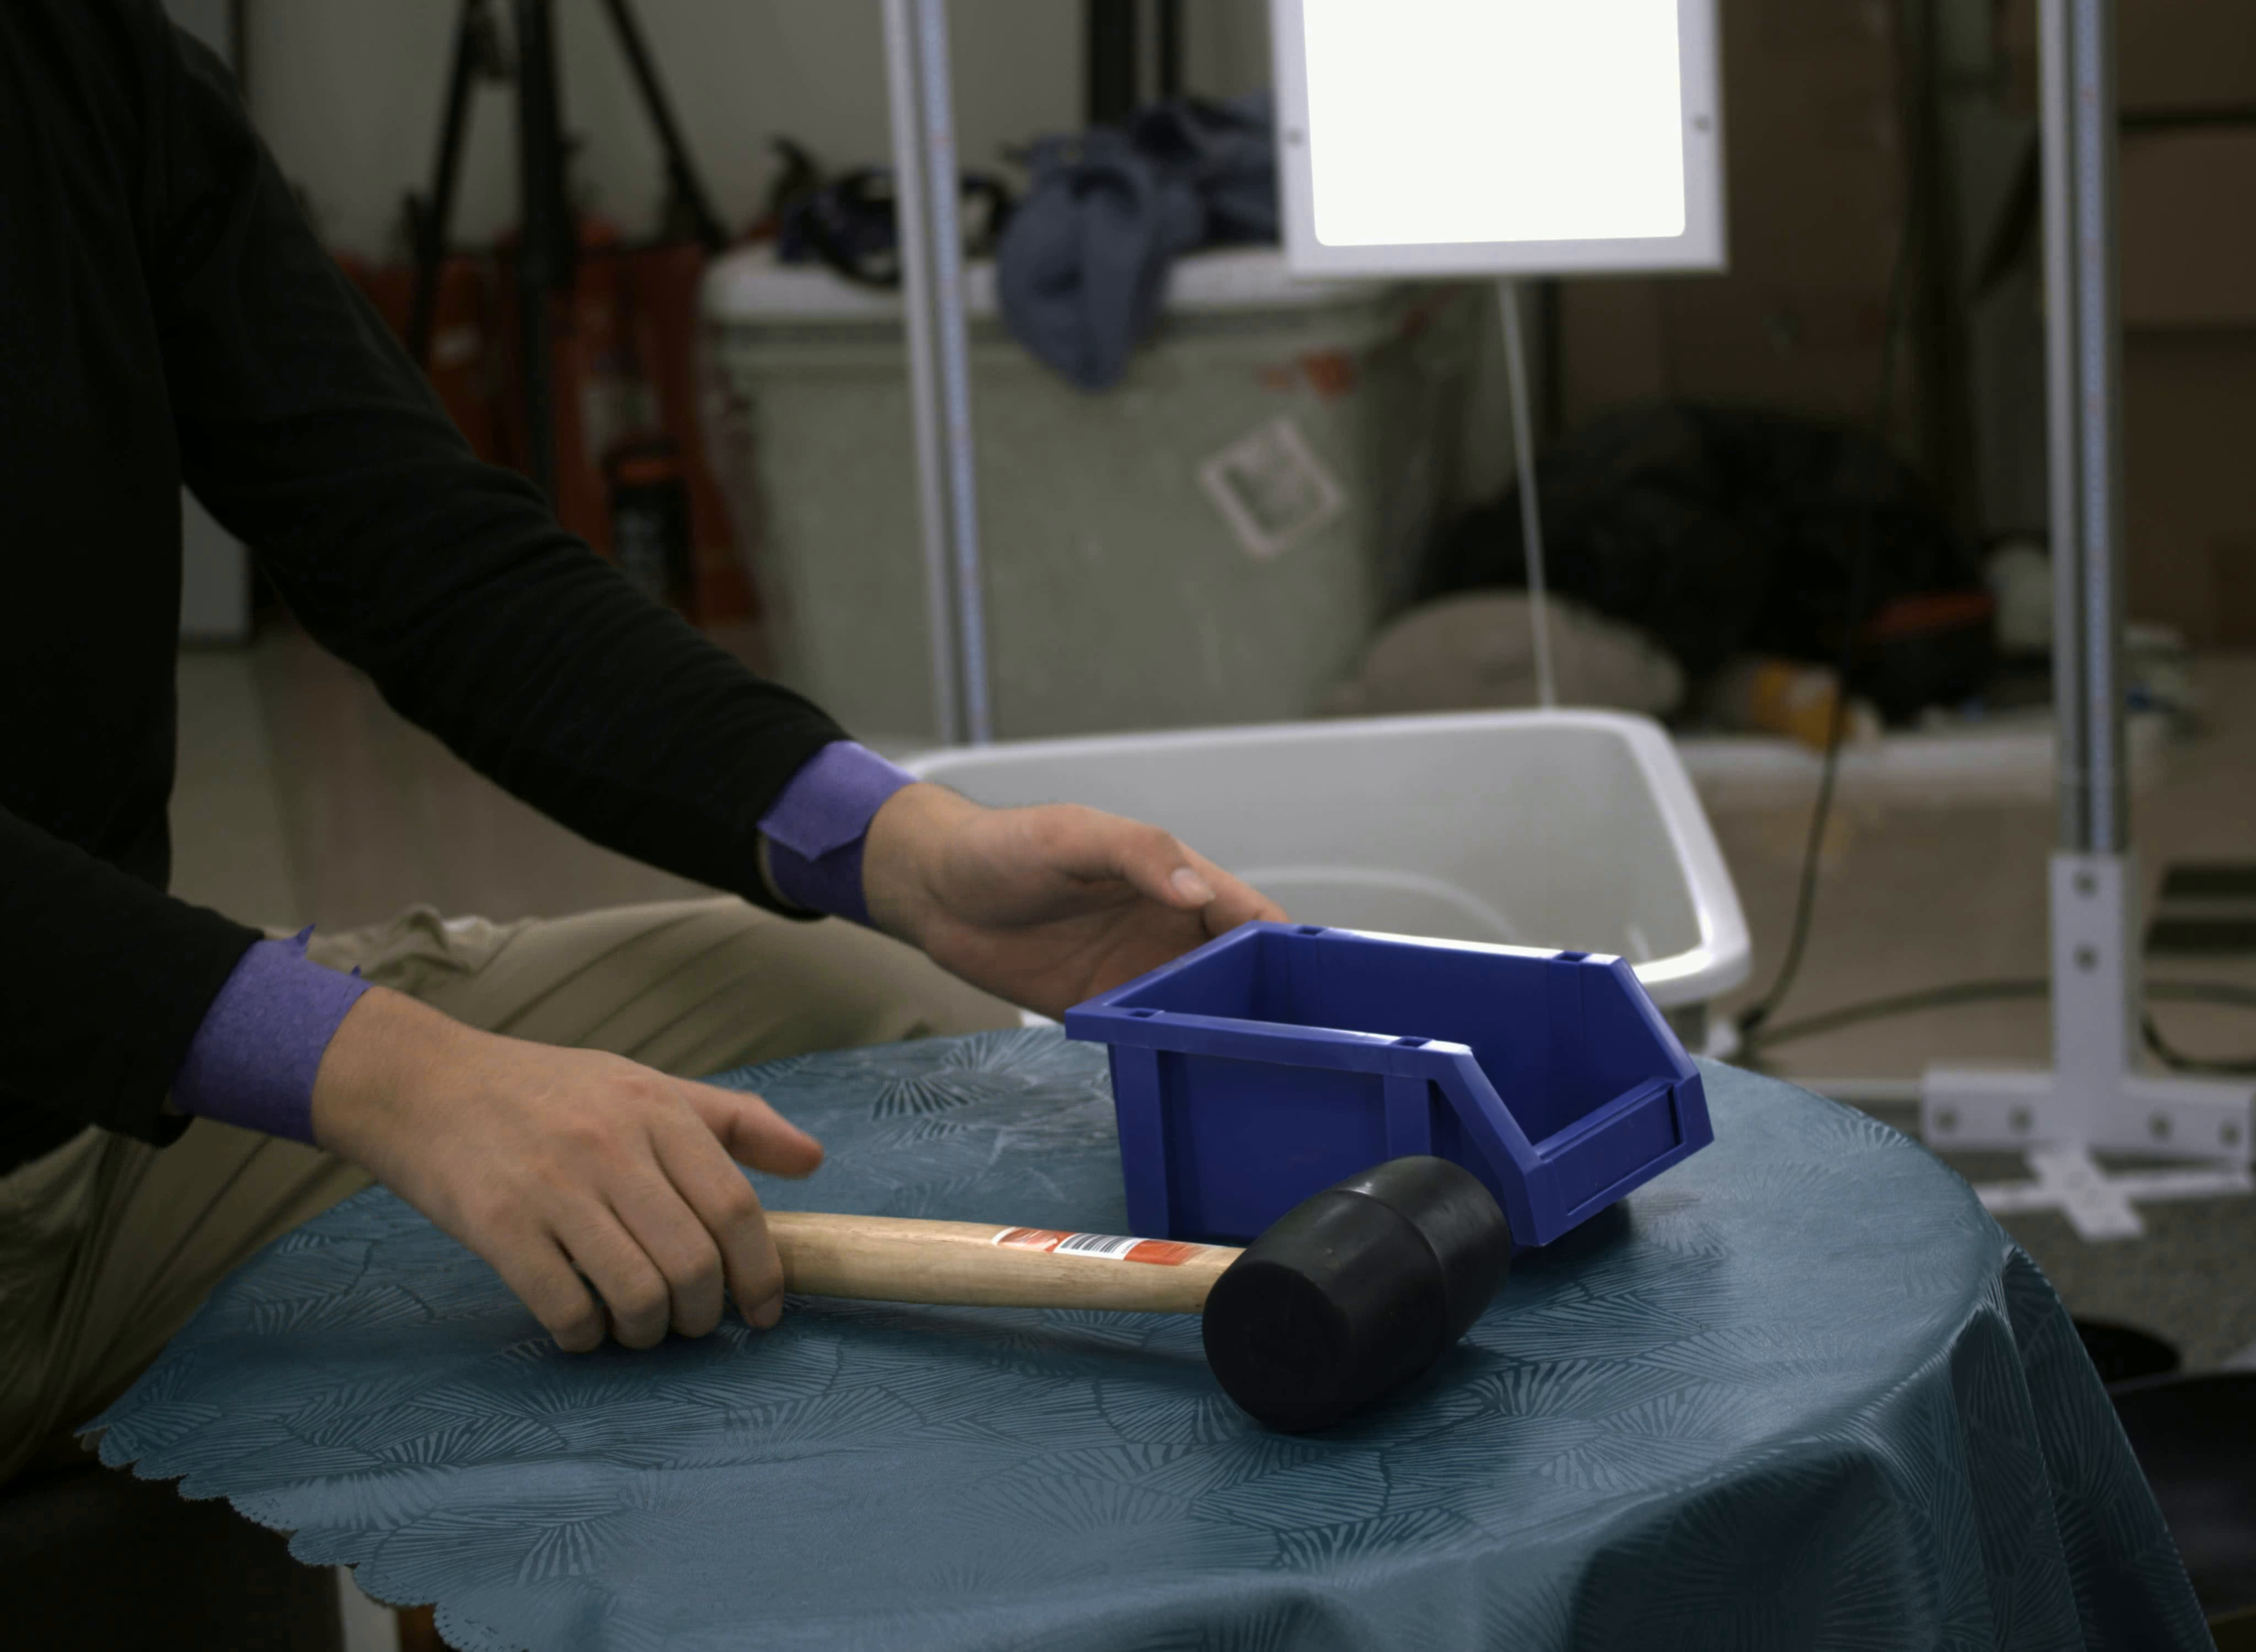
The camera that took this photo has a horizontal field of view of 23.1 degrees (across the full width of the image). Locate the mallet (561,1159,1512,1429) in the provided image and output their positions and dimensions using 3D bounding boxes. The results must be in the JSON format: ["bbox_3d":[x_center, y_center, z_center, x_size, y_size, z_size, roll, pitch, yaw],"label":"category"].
[{"bbox_3d":[-0.044,0.134,1.759,0.346,0.064,0.099,4,16,36],"label":"mallet"}]

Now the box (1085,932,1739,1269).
[{"bbox_3d":[0.097,0.091,1.835,0.183,0.082,0.121,1,15,37],"label":"box"}]
